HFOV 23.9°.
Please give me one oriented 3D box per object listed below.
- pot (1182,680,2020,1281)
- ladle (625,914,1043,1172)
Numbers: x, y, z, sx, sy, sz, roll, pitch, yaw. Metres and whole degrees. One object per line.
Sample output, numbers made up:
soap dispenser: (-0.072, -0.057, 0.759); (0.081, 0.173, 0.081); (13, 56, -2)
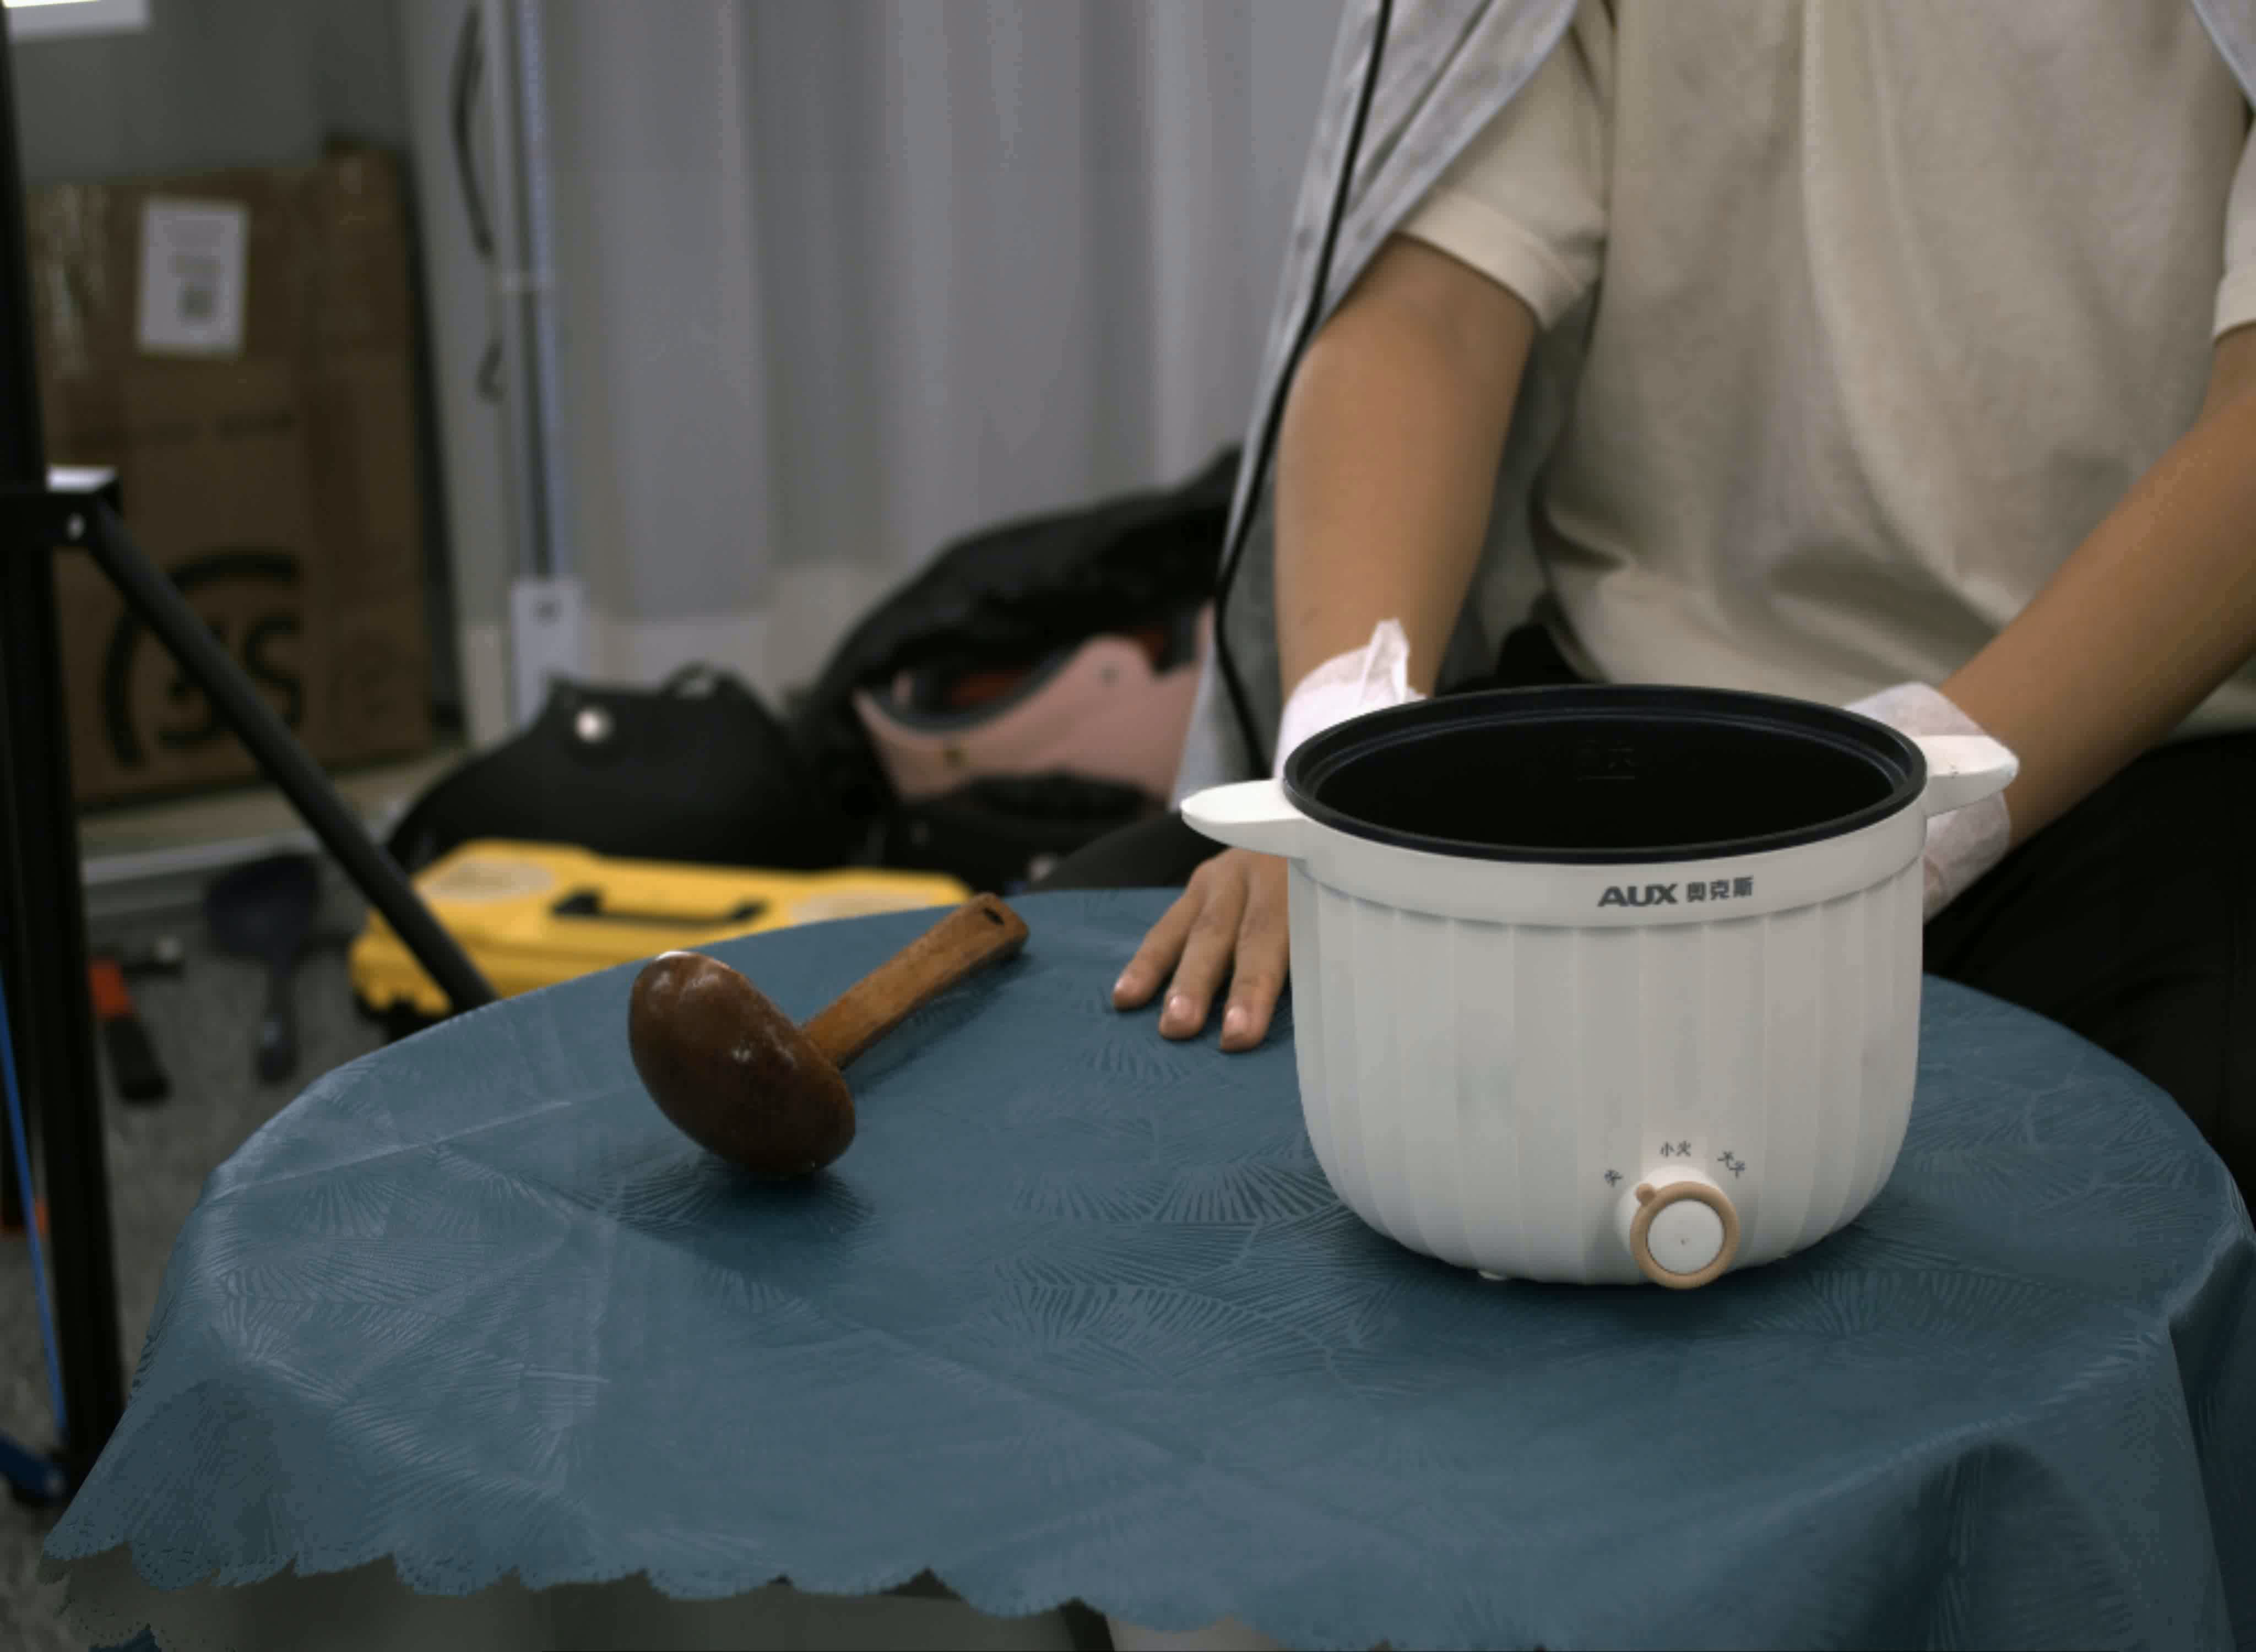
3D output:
pot: (0.137, 0.047, 1.495); (0.238, 0.143, 0.192); (-5, 12, -6)
ladle: (-0.075, 0.045, 1.664); (0.082, 0.077, 0.270); (45, 27, 8)
